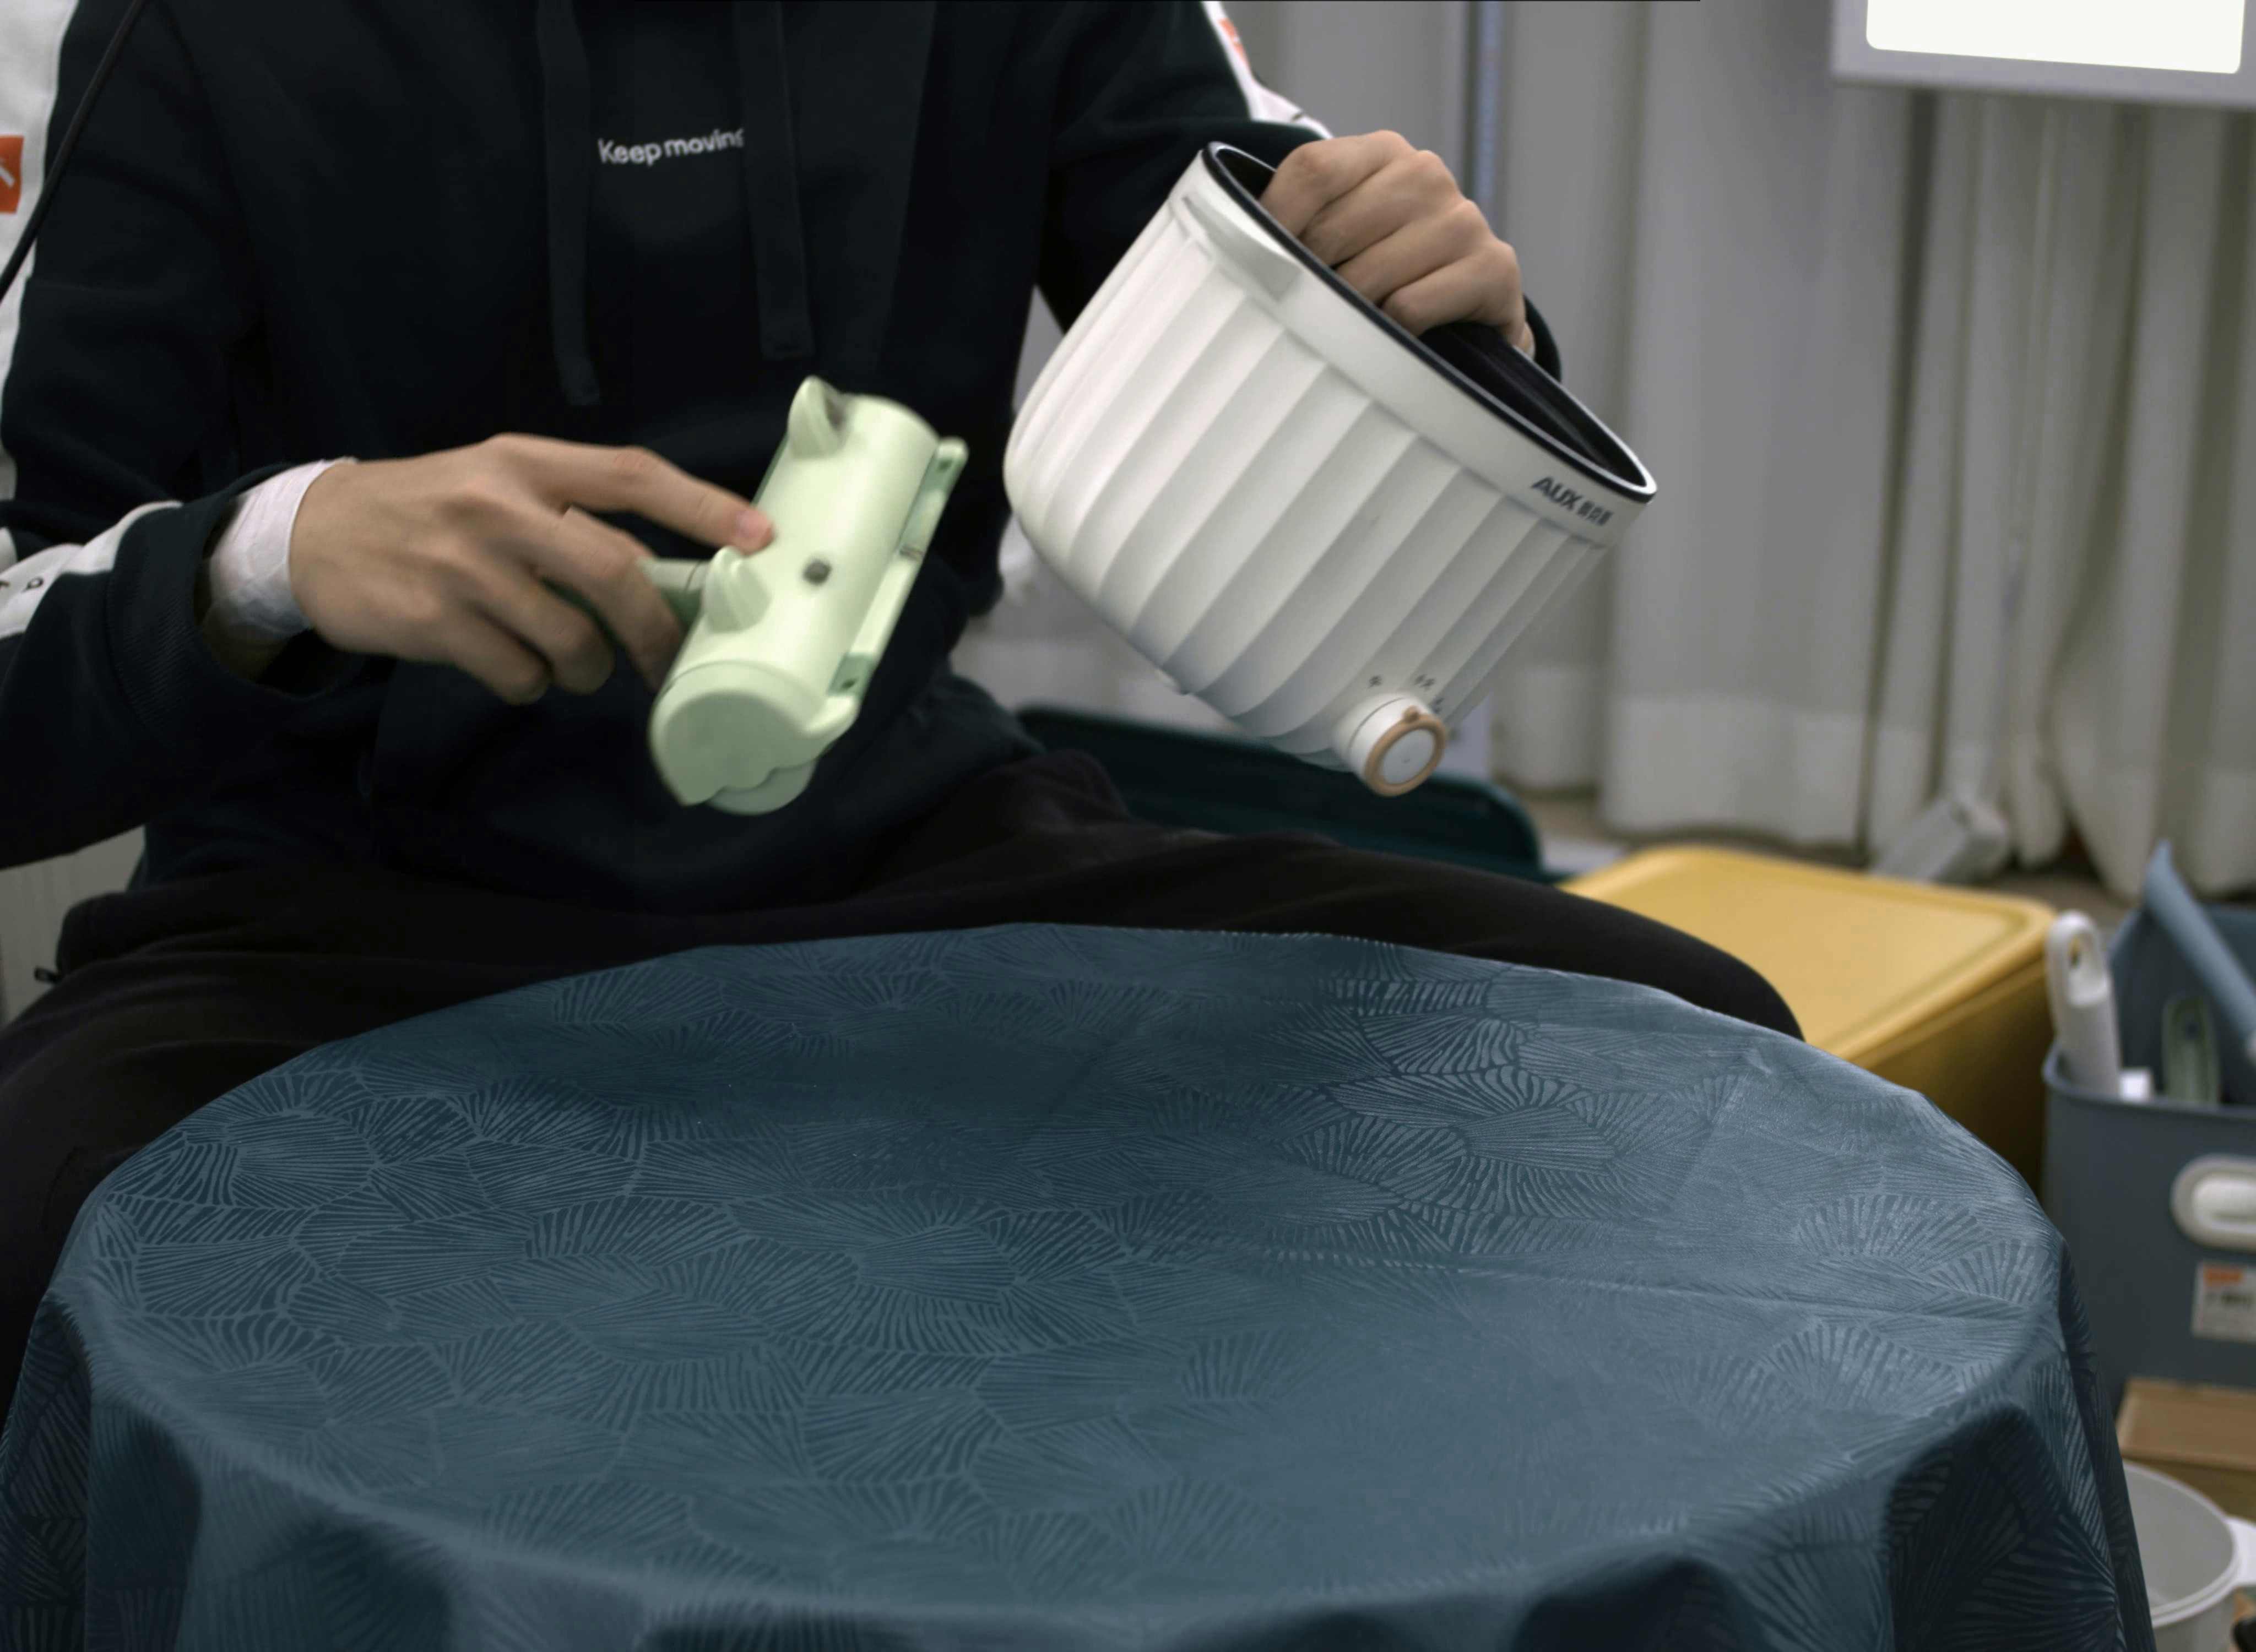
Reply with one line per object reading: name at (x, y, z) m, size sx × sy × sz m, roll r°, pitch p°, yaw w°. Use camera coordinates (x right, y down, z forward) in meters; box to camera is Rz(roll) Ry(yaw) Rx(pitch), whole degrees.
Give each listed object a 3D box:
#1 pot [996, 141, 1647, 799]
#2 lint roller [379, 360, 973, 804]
pot at (0.057, -0.106, 1.681) m, size 0.243 × 0.143 × 0.188 m, roll 21°, pitch 18°, yaw -51°
lint roller at (-0.156, -0.090, 1.704) m, size 0.182 × 0.083 × 0.197 m, roll 6°, pitch 34°, yaw 7°
